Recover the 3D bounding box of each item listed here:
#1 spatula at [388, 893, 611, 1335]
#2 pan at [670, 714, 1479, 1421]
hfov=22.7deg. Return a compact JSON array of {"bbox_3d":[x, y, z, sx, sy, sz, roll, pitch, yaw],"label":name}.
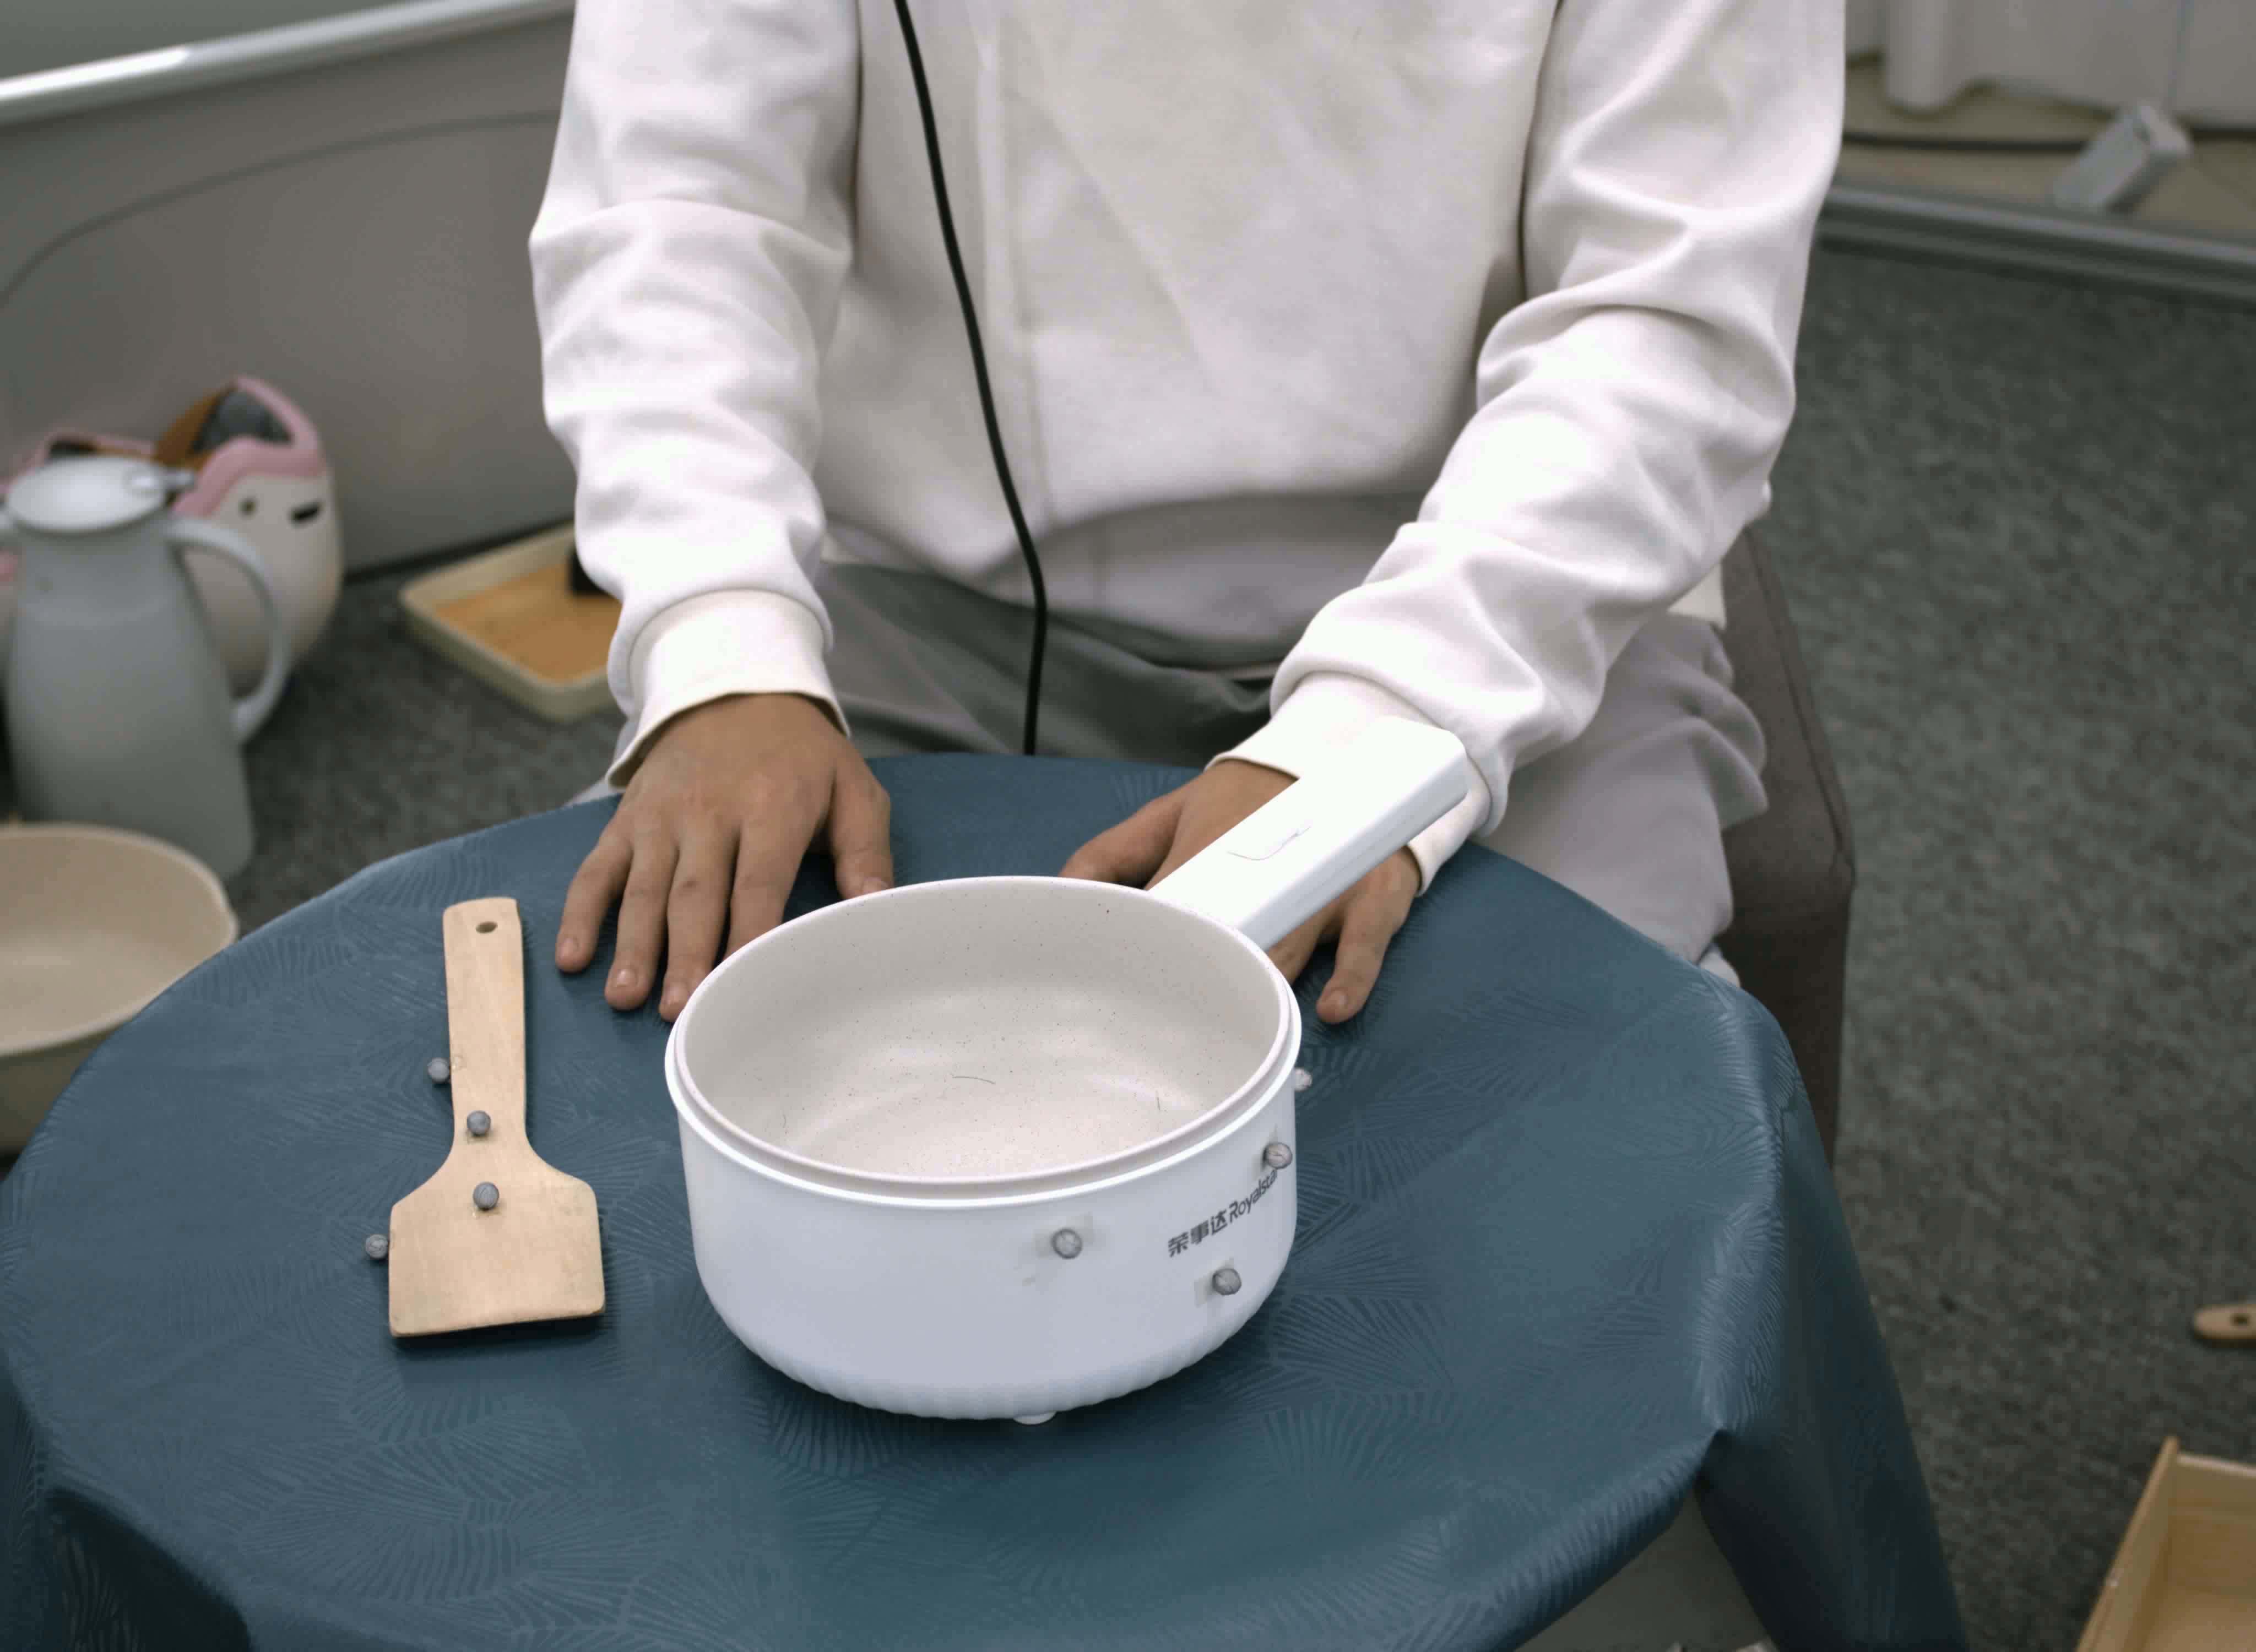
[{"bbox_3d":[-0.219,0.095,1.926,0.072,0.010,0.297,-6,28,-5],"label":"spatula"},{"bbox_3d":[0.002,0.075,1.846,0.200,0.101,0.360,16,32,32],"label":"pan"}]
